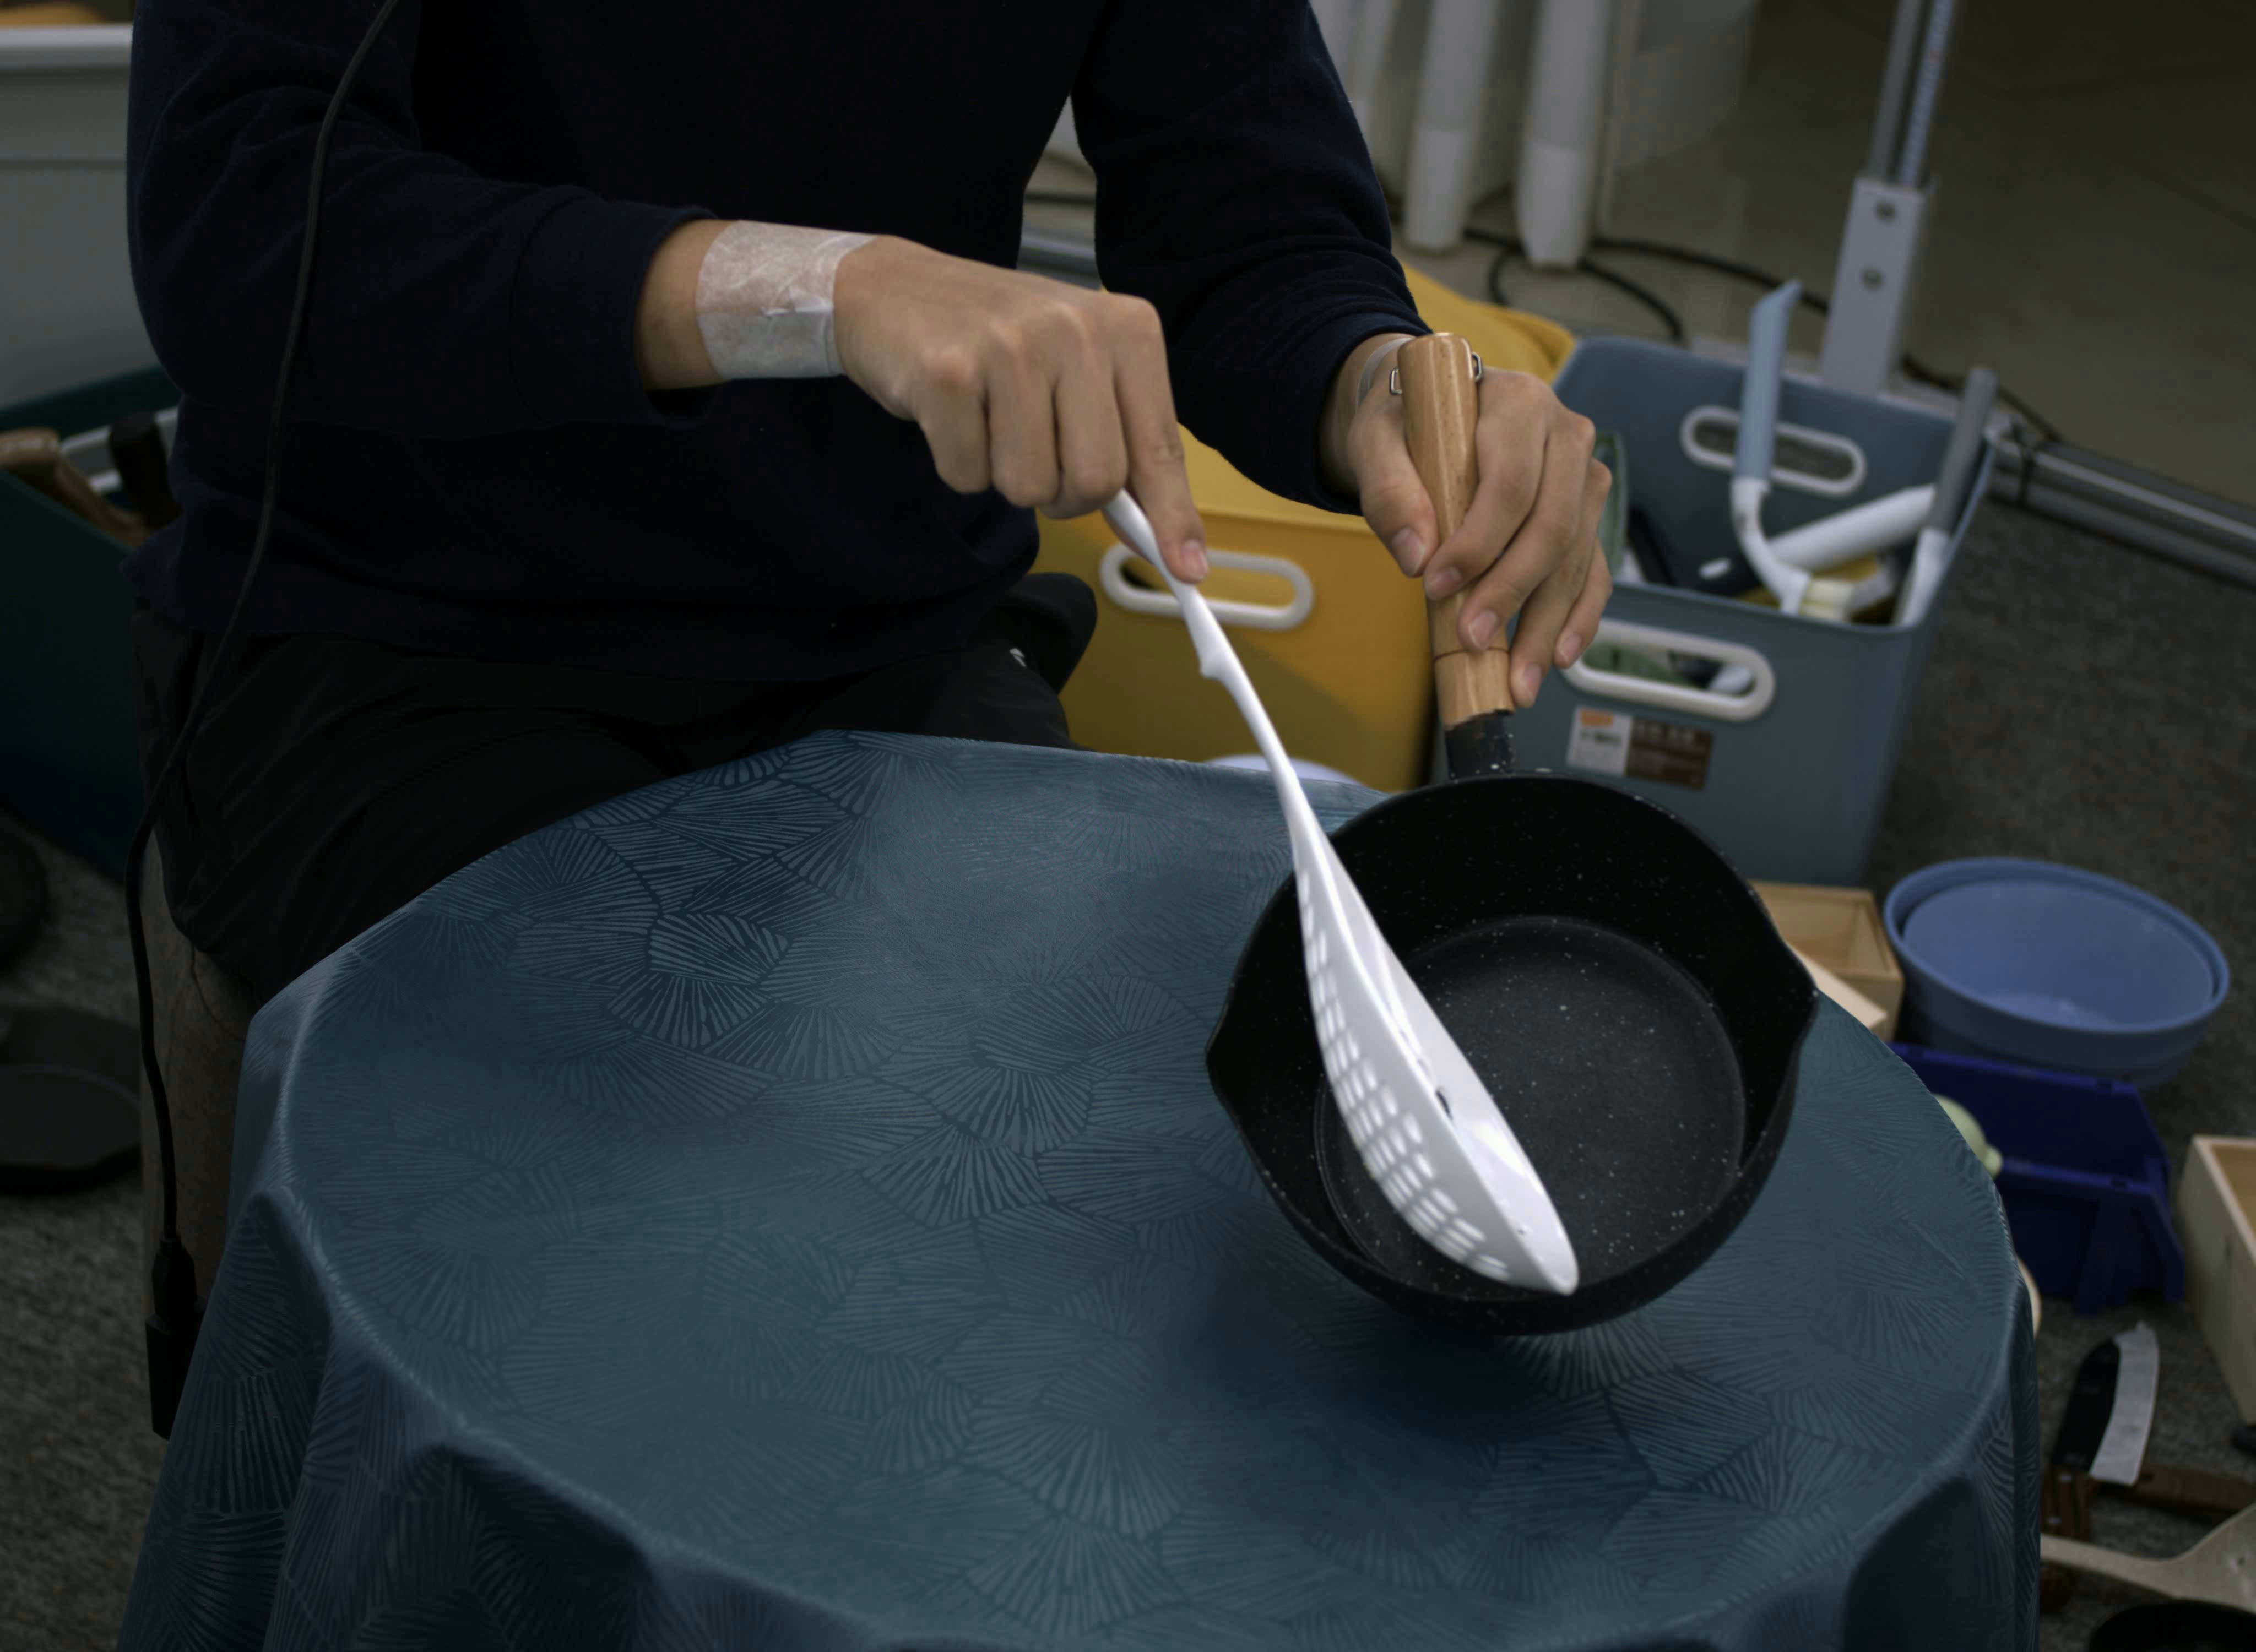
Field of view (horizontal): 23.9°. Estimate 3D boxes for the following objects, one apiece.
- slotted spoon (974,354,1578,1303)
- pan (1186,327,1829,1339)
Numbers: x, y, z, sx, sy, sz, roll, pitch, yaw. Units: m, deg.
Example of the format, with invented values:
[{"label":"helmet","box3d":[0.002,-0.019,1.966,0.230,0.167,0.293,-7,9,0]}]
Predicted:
[{"label":"slotted spoon","box3d":[0.045,-0.001,1.669,0.050,0.349,0.136,-26,-8,9]},{"label":"pan","box3d":[0.119,0.005,1.765,0.207,0.107,0.345,-9,65,8]}]
